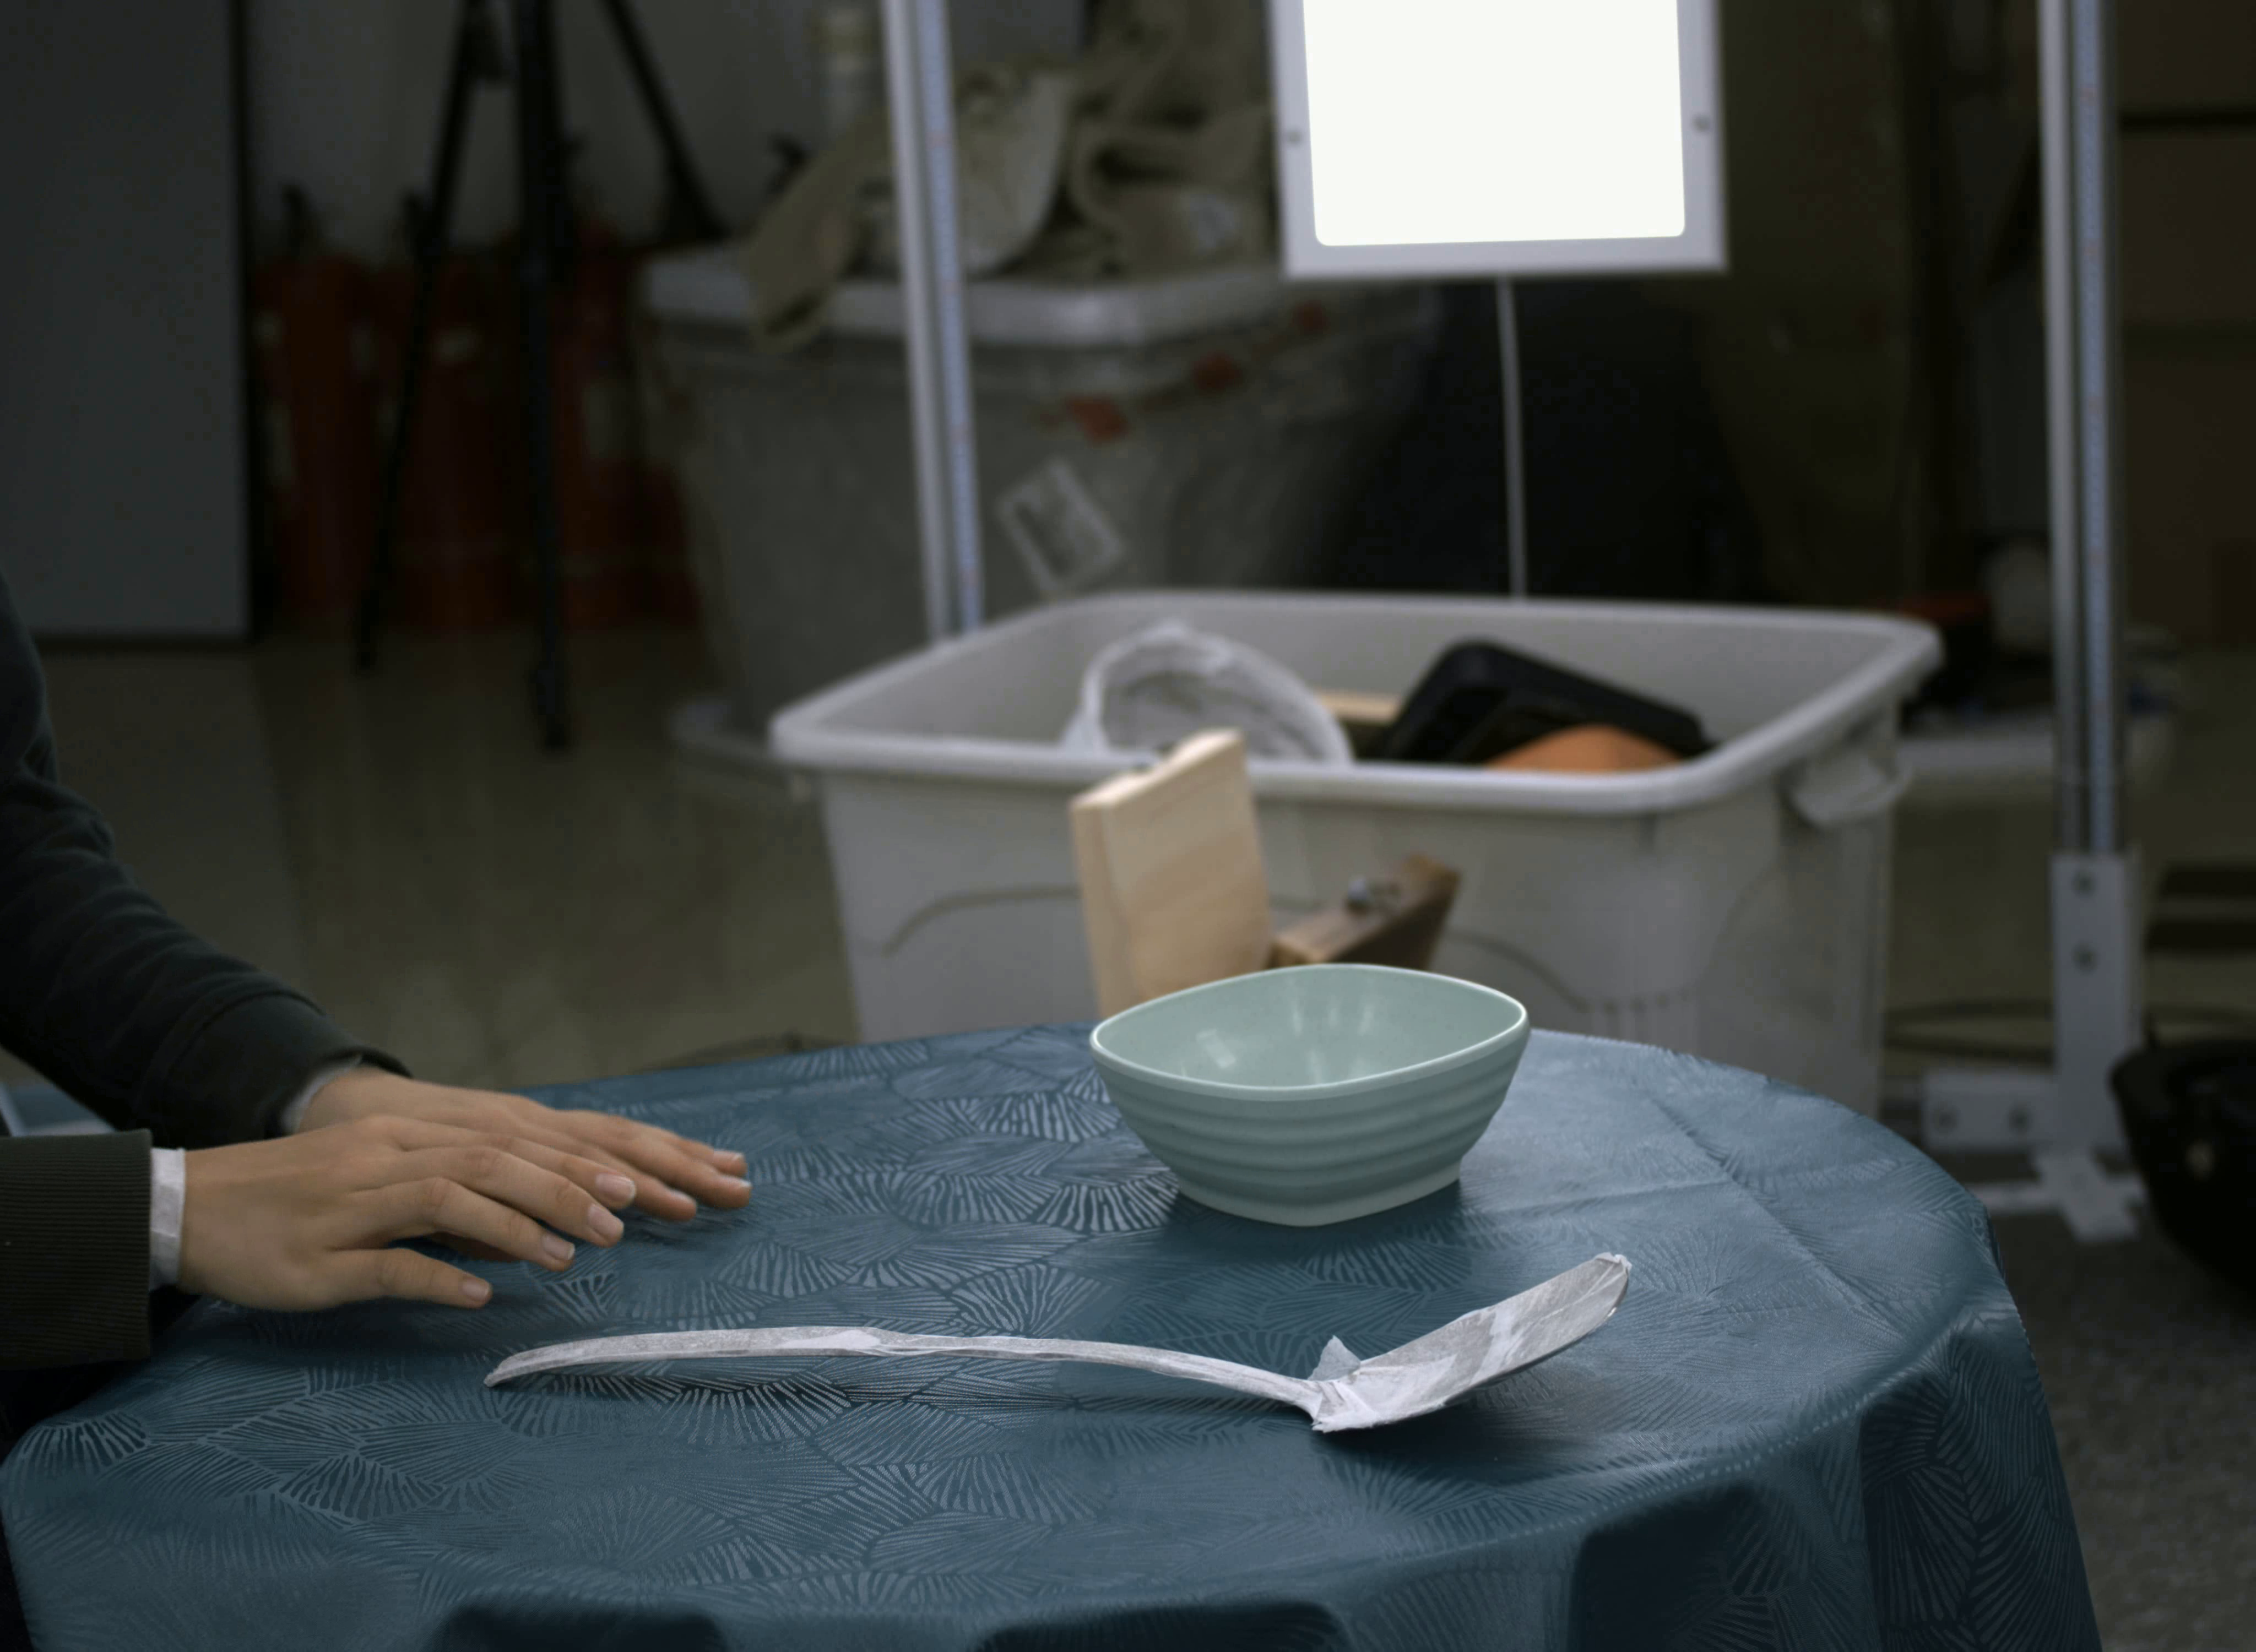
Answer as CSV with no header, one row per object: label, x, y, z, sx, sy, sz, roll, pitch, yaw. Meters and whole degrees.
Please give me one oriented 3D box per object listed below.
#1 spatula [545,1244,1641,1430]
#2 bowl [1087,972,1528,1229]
spatula,-0.021,0.157,1.700,0.370,0.045,0.097,1,17,21
bowl,0.062,0.096,1.883,0.151,0.059,0.151,-3,13,-1
